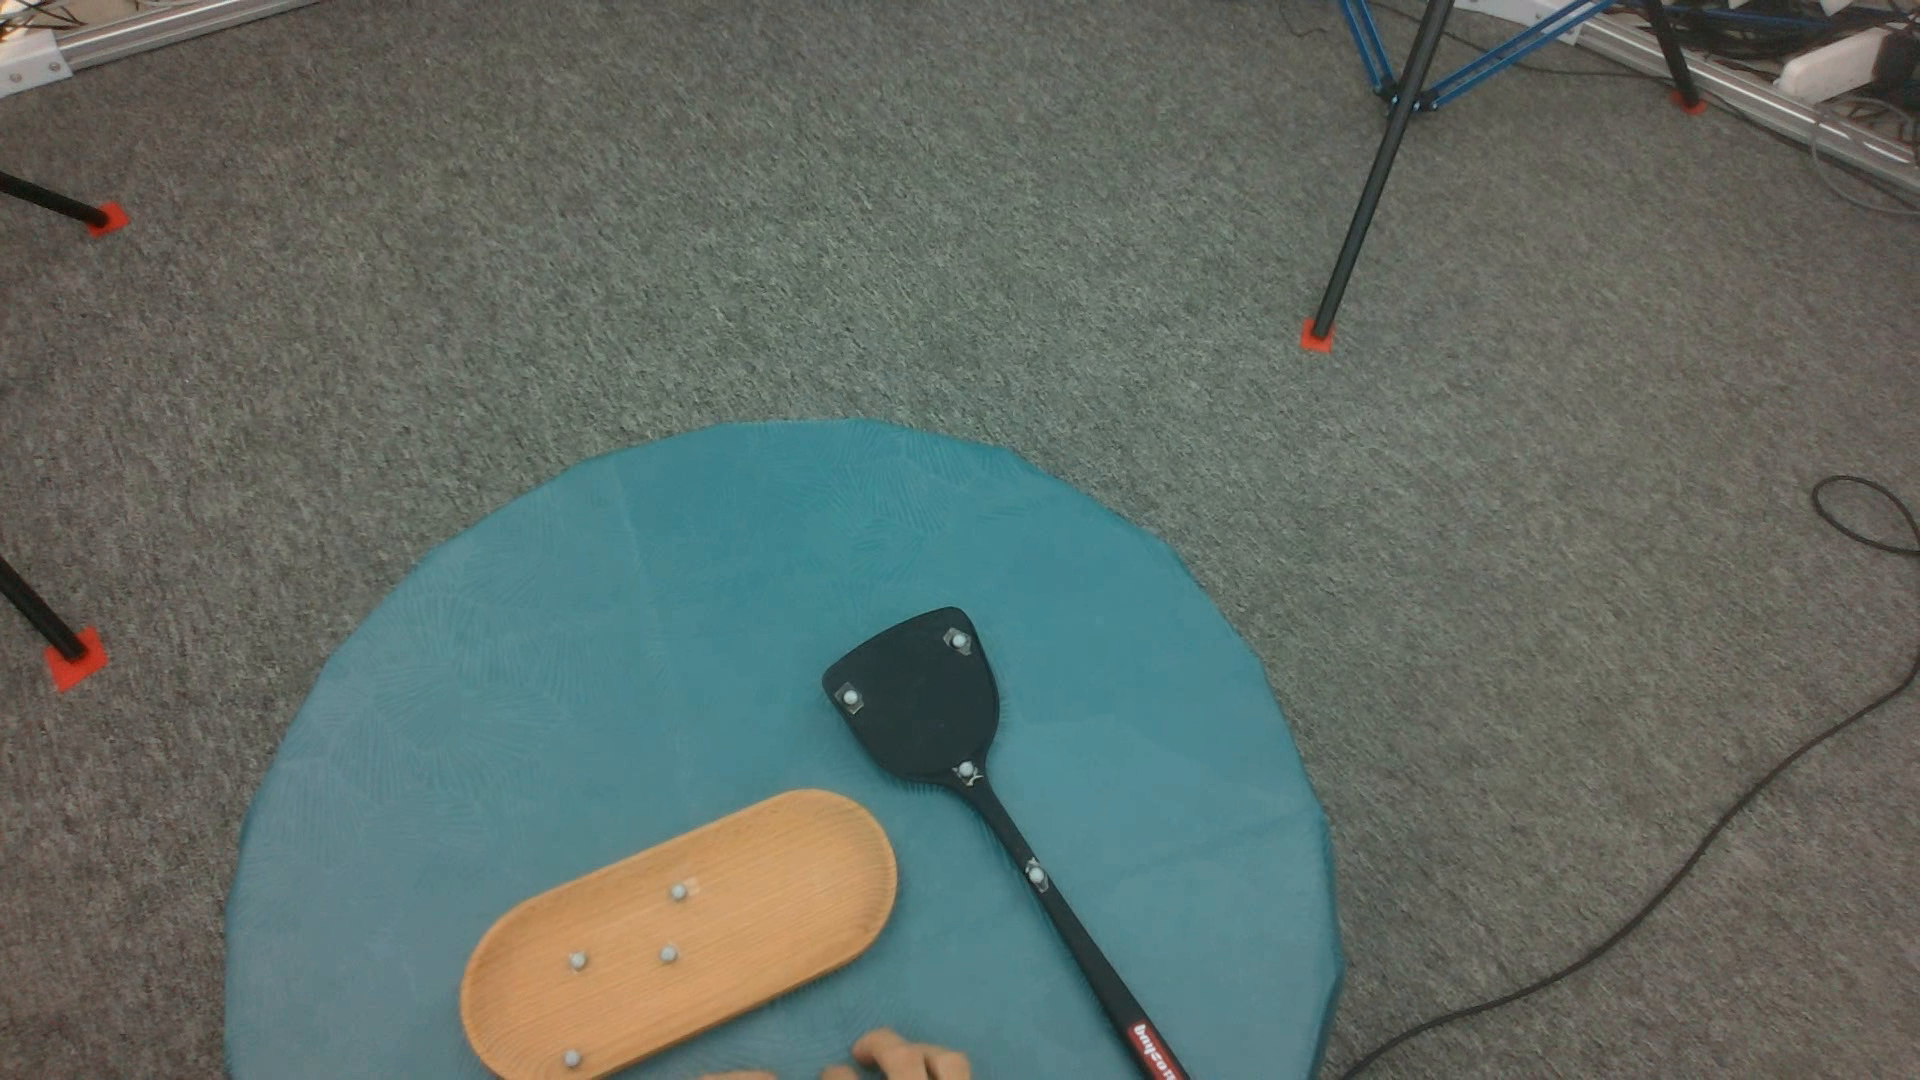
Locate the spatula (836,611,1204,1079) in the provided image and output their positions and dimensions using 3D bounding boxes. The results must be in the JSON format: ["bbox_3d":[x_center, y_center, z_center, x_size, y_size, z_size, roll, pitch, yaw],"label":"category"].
[{"bbox_3d":[0.049,0.183,0.758,0.100,0.040,0.326,-27,61,-18],"label":"spatula"}]

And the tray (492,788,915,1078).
[{"bbox_3d":[-0.135,0.209,0.743,0.232,0.020,0.102,-20,60,-17],"label":"tray"}]
